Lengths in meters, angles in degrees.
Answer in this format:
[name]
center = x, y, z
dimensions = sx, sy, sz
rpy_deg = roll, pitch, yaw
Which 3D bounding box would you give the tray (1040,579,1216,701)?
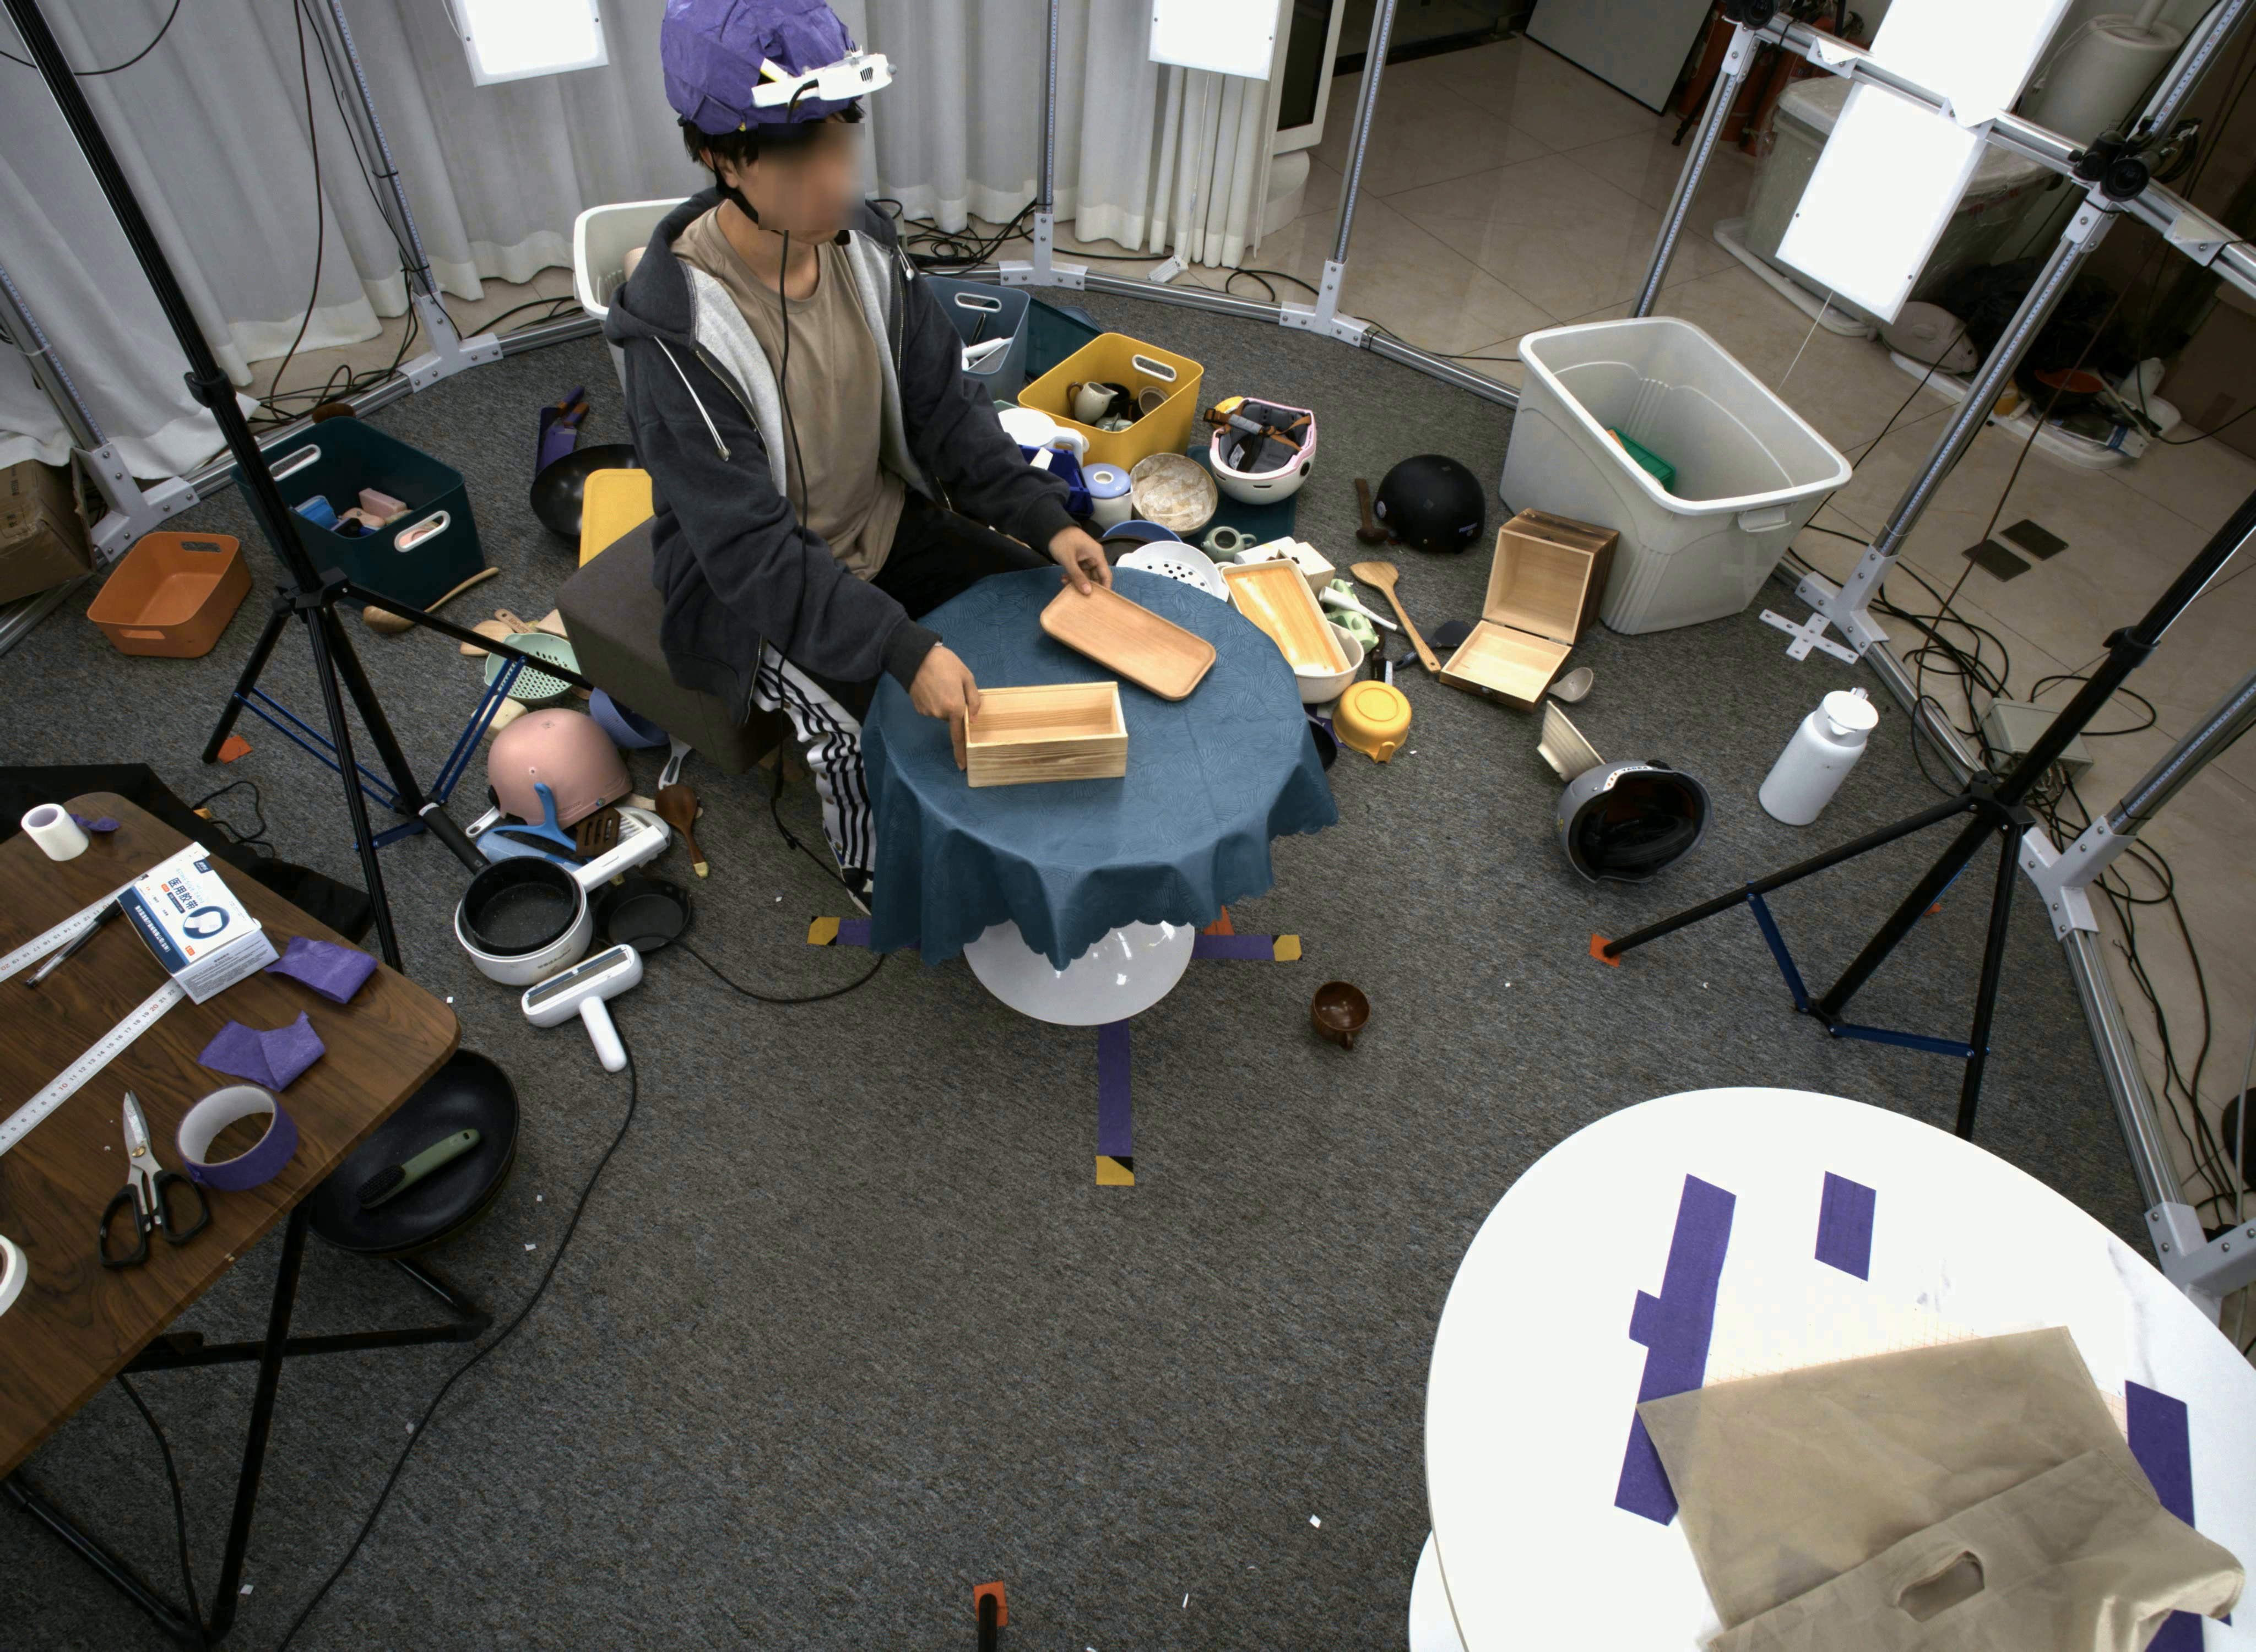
[tray]
center = -0.001, -0.273, 1.874
dimensions = 0.252, 0.022, 0.132
rpy_deg = 30, 53, 14

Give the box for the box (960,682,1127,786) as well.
[box]
center = -0.114, -0.124, 1.715
dimensions = 0.211, 0.078, 0.110
rpy_deg = -4, 49, -7
